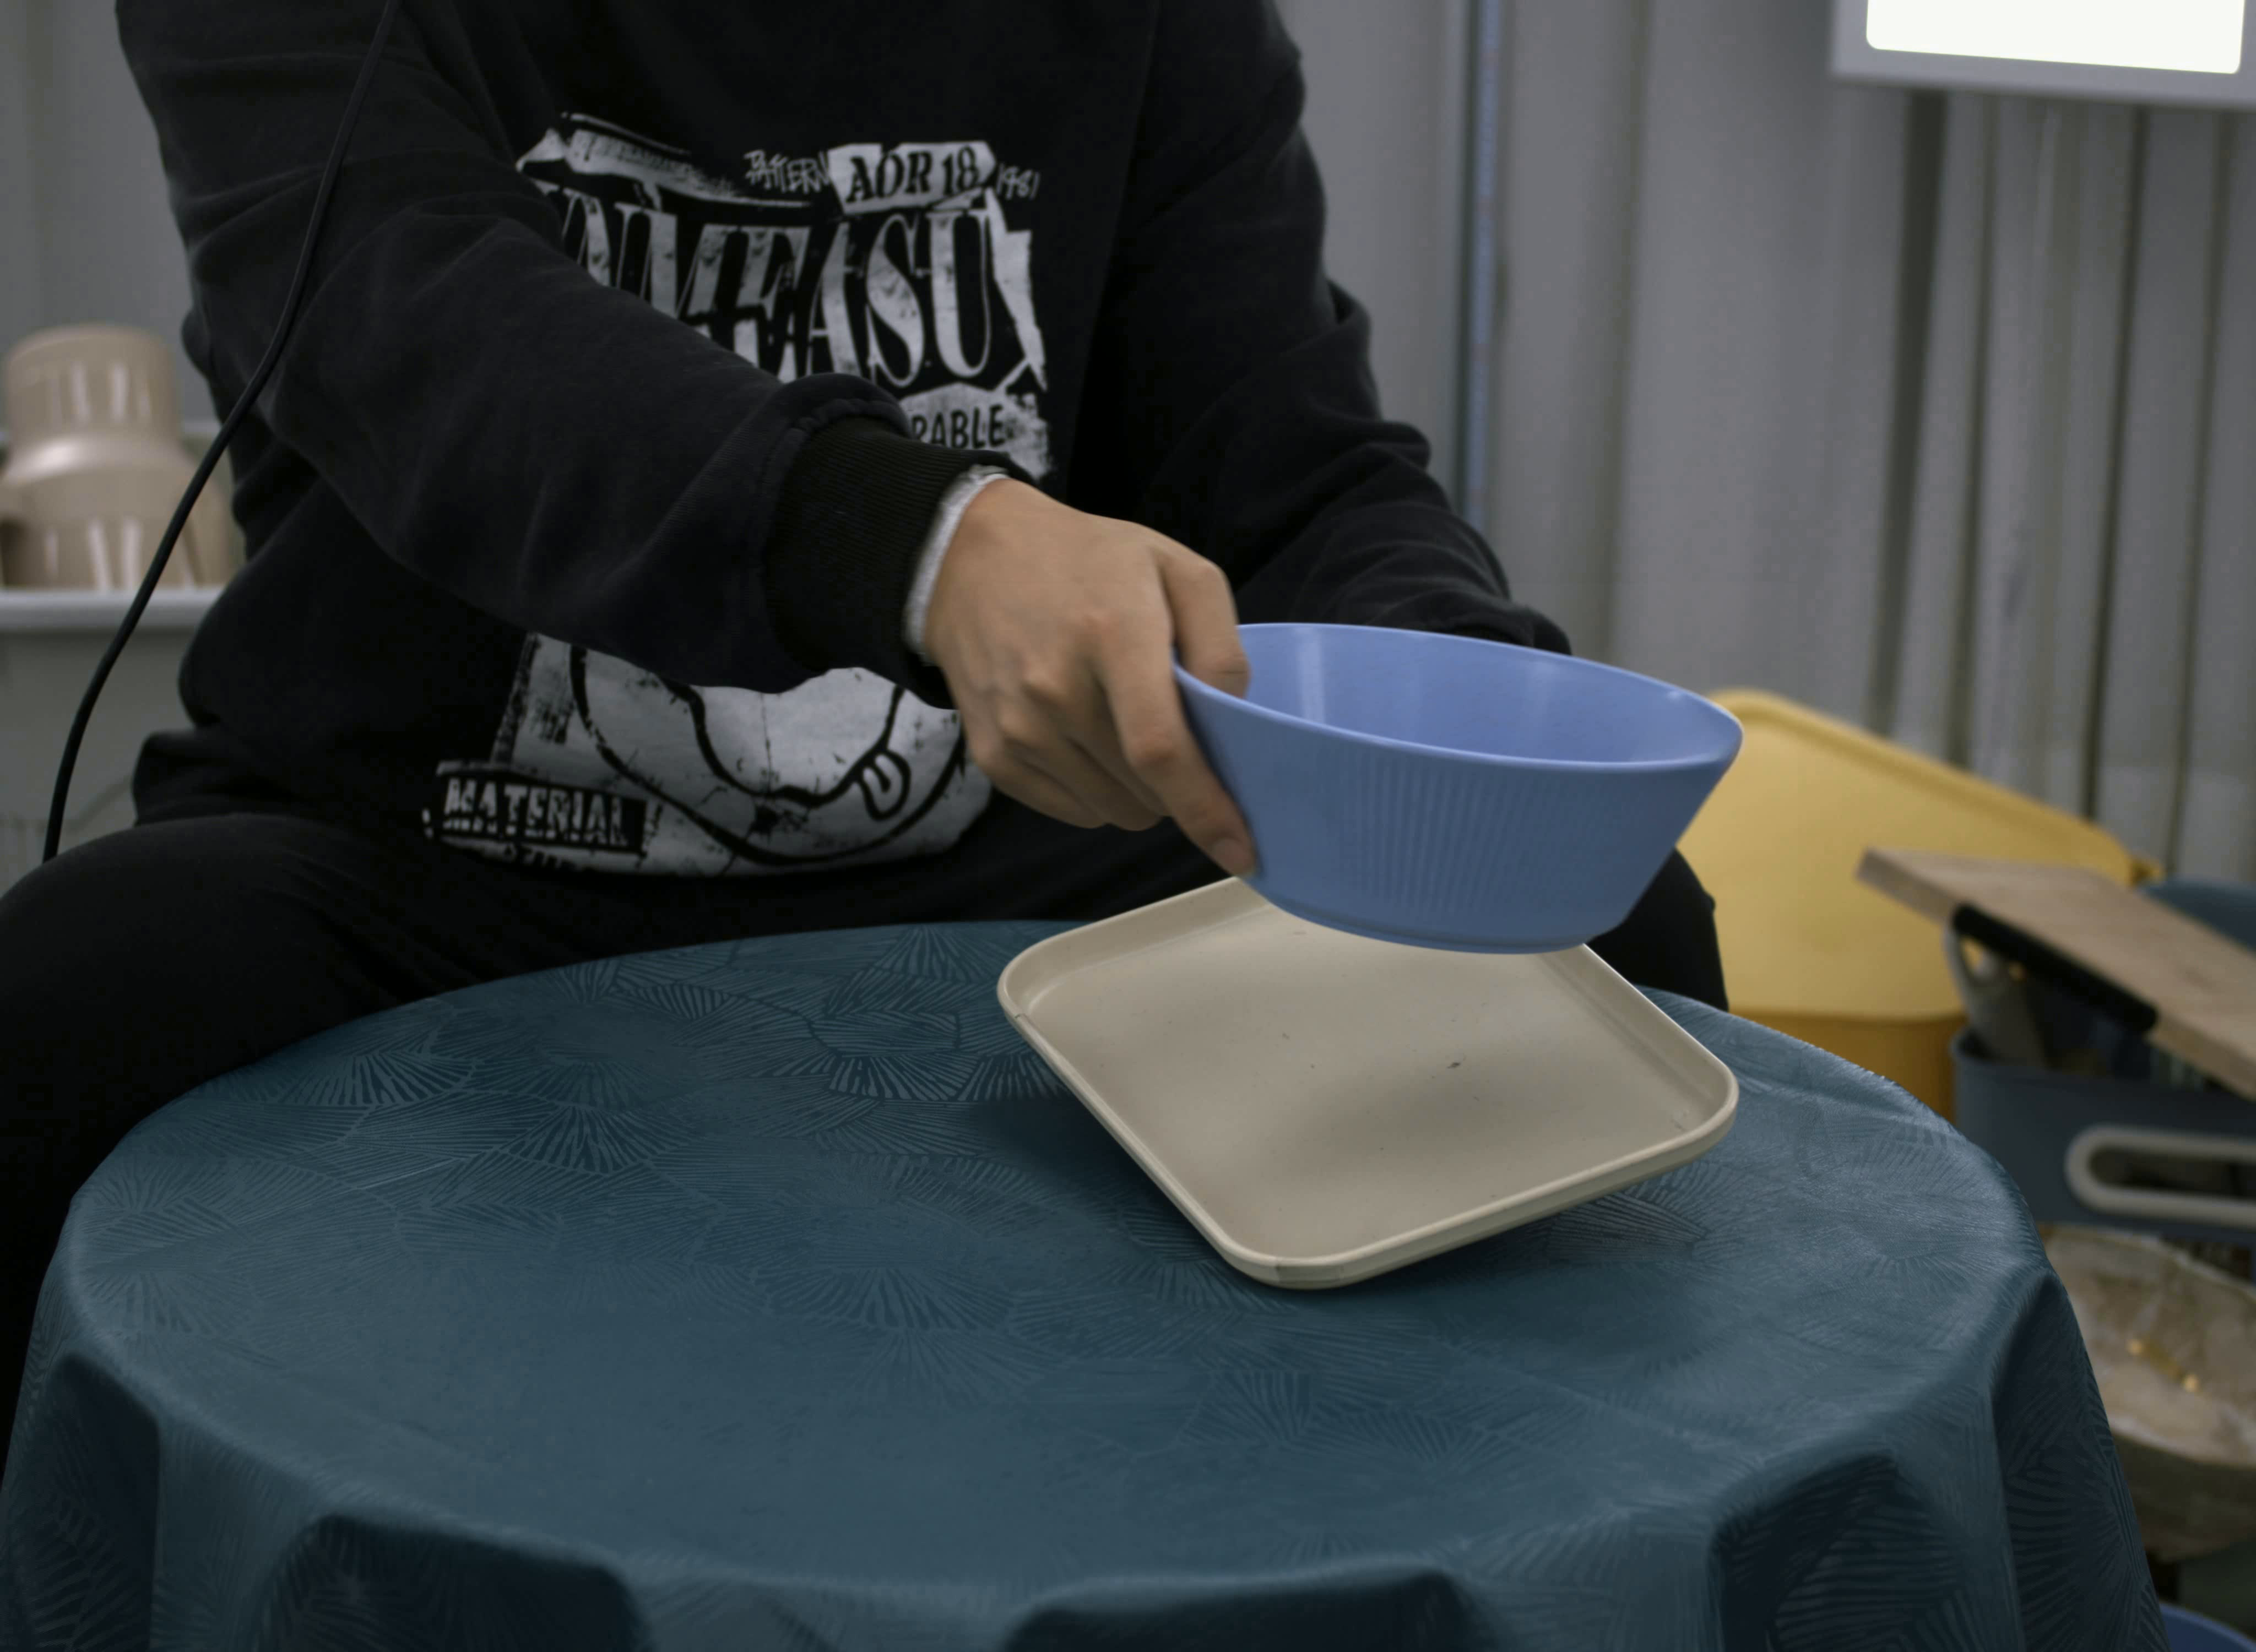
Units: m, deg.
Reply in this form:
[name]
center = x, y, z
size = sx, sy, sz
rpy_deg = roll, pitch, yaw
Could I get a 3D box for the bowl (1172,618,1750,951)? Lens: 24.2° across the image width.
[bowl]
center = 0.095, -0.011, 1.588
size = 0.175, 0.071, 0.175
rpy_deg = 9, 14, -2

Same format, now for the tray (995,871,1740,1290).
[tray]
center = 0.071, 0.072, 1.648
size = 0.171, 0.018, 0.236
rpy_deg = -17, 28, -18
